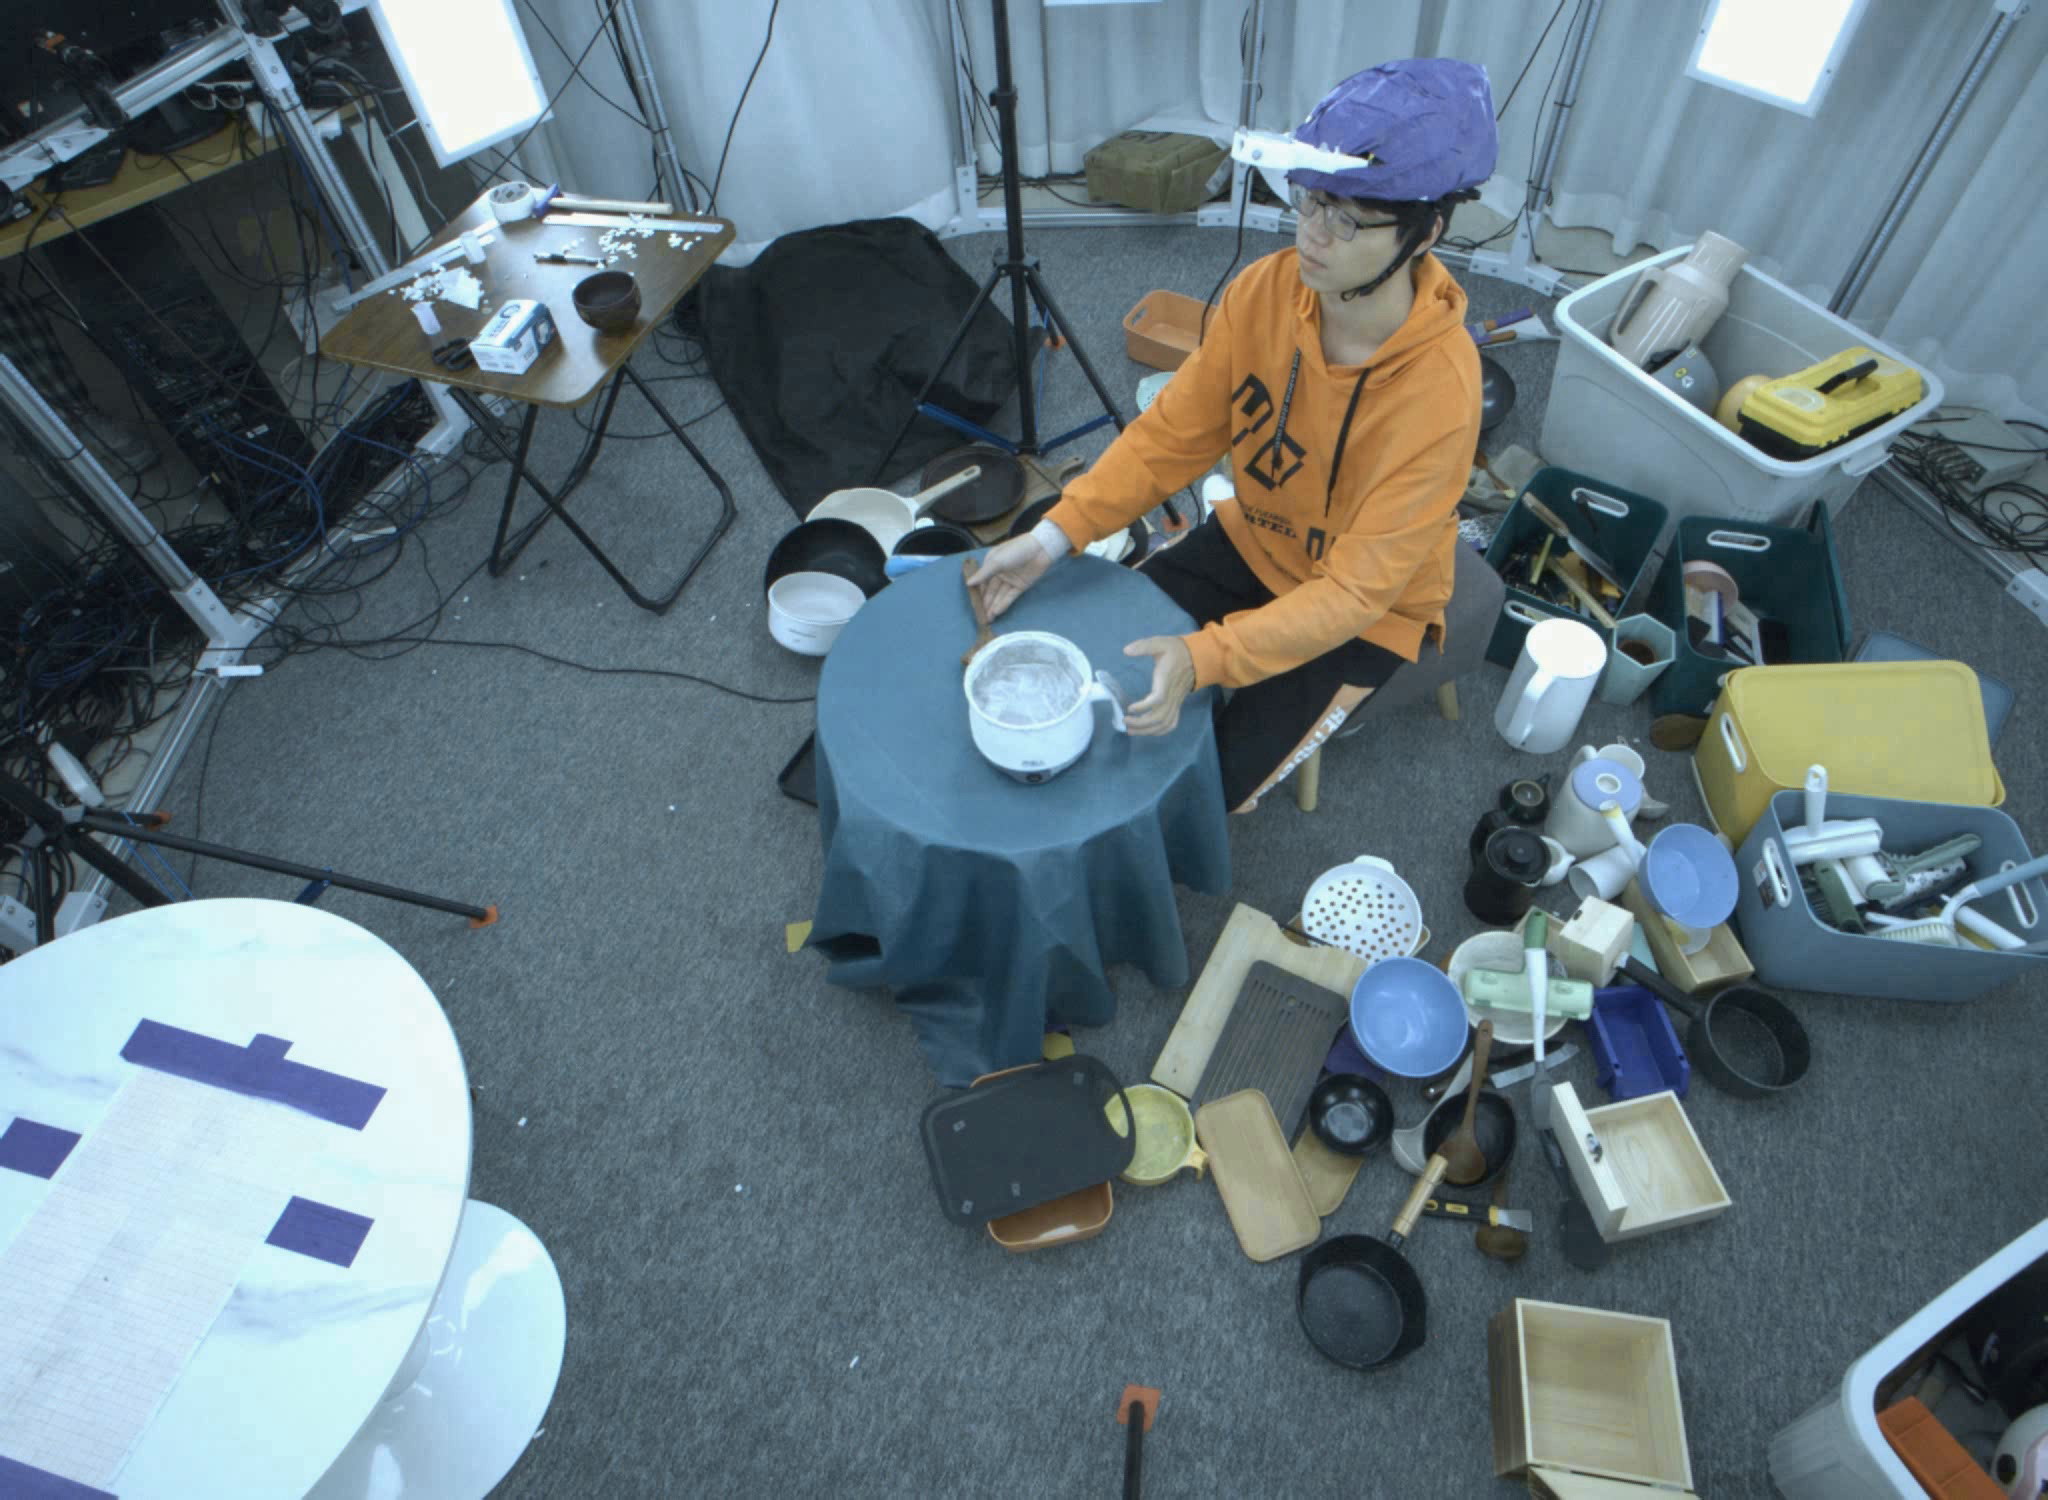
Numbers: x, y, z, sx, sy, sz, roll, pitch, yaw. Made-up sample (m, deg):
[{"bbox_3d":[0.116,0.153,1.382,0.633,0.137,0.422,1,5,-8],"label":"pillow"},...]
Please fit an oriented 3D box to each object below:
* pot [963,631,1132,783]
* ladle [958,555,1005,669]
[{"bbox_3d":[0.037,-0.062,1.745,0.234,0.138,0.176,-4,55,0],"label":"pot"},{"bbox_3d":[-0.077,-0.226,1.911,0.076,0.066,0.256,-16,55,8],"label":"ladle"}]
